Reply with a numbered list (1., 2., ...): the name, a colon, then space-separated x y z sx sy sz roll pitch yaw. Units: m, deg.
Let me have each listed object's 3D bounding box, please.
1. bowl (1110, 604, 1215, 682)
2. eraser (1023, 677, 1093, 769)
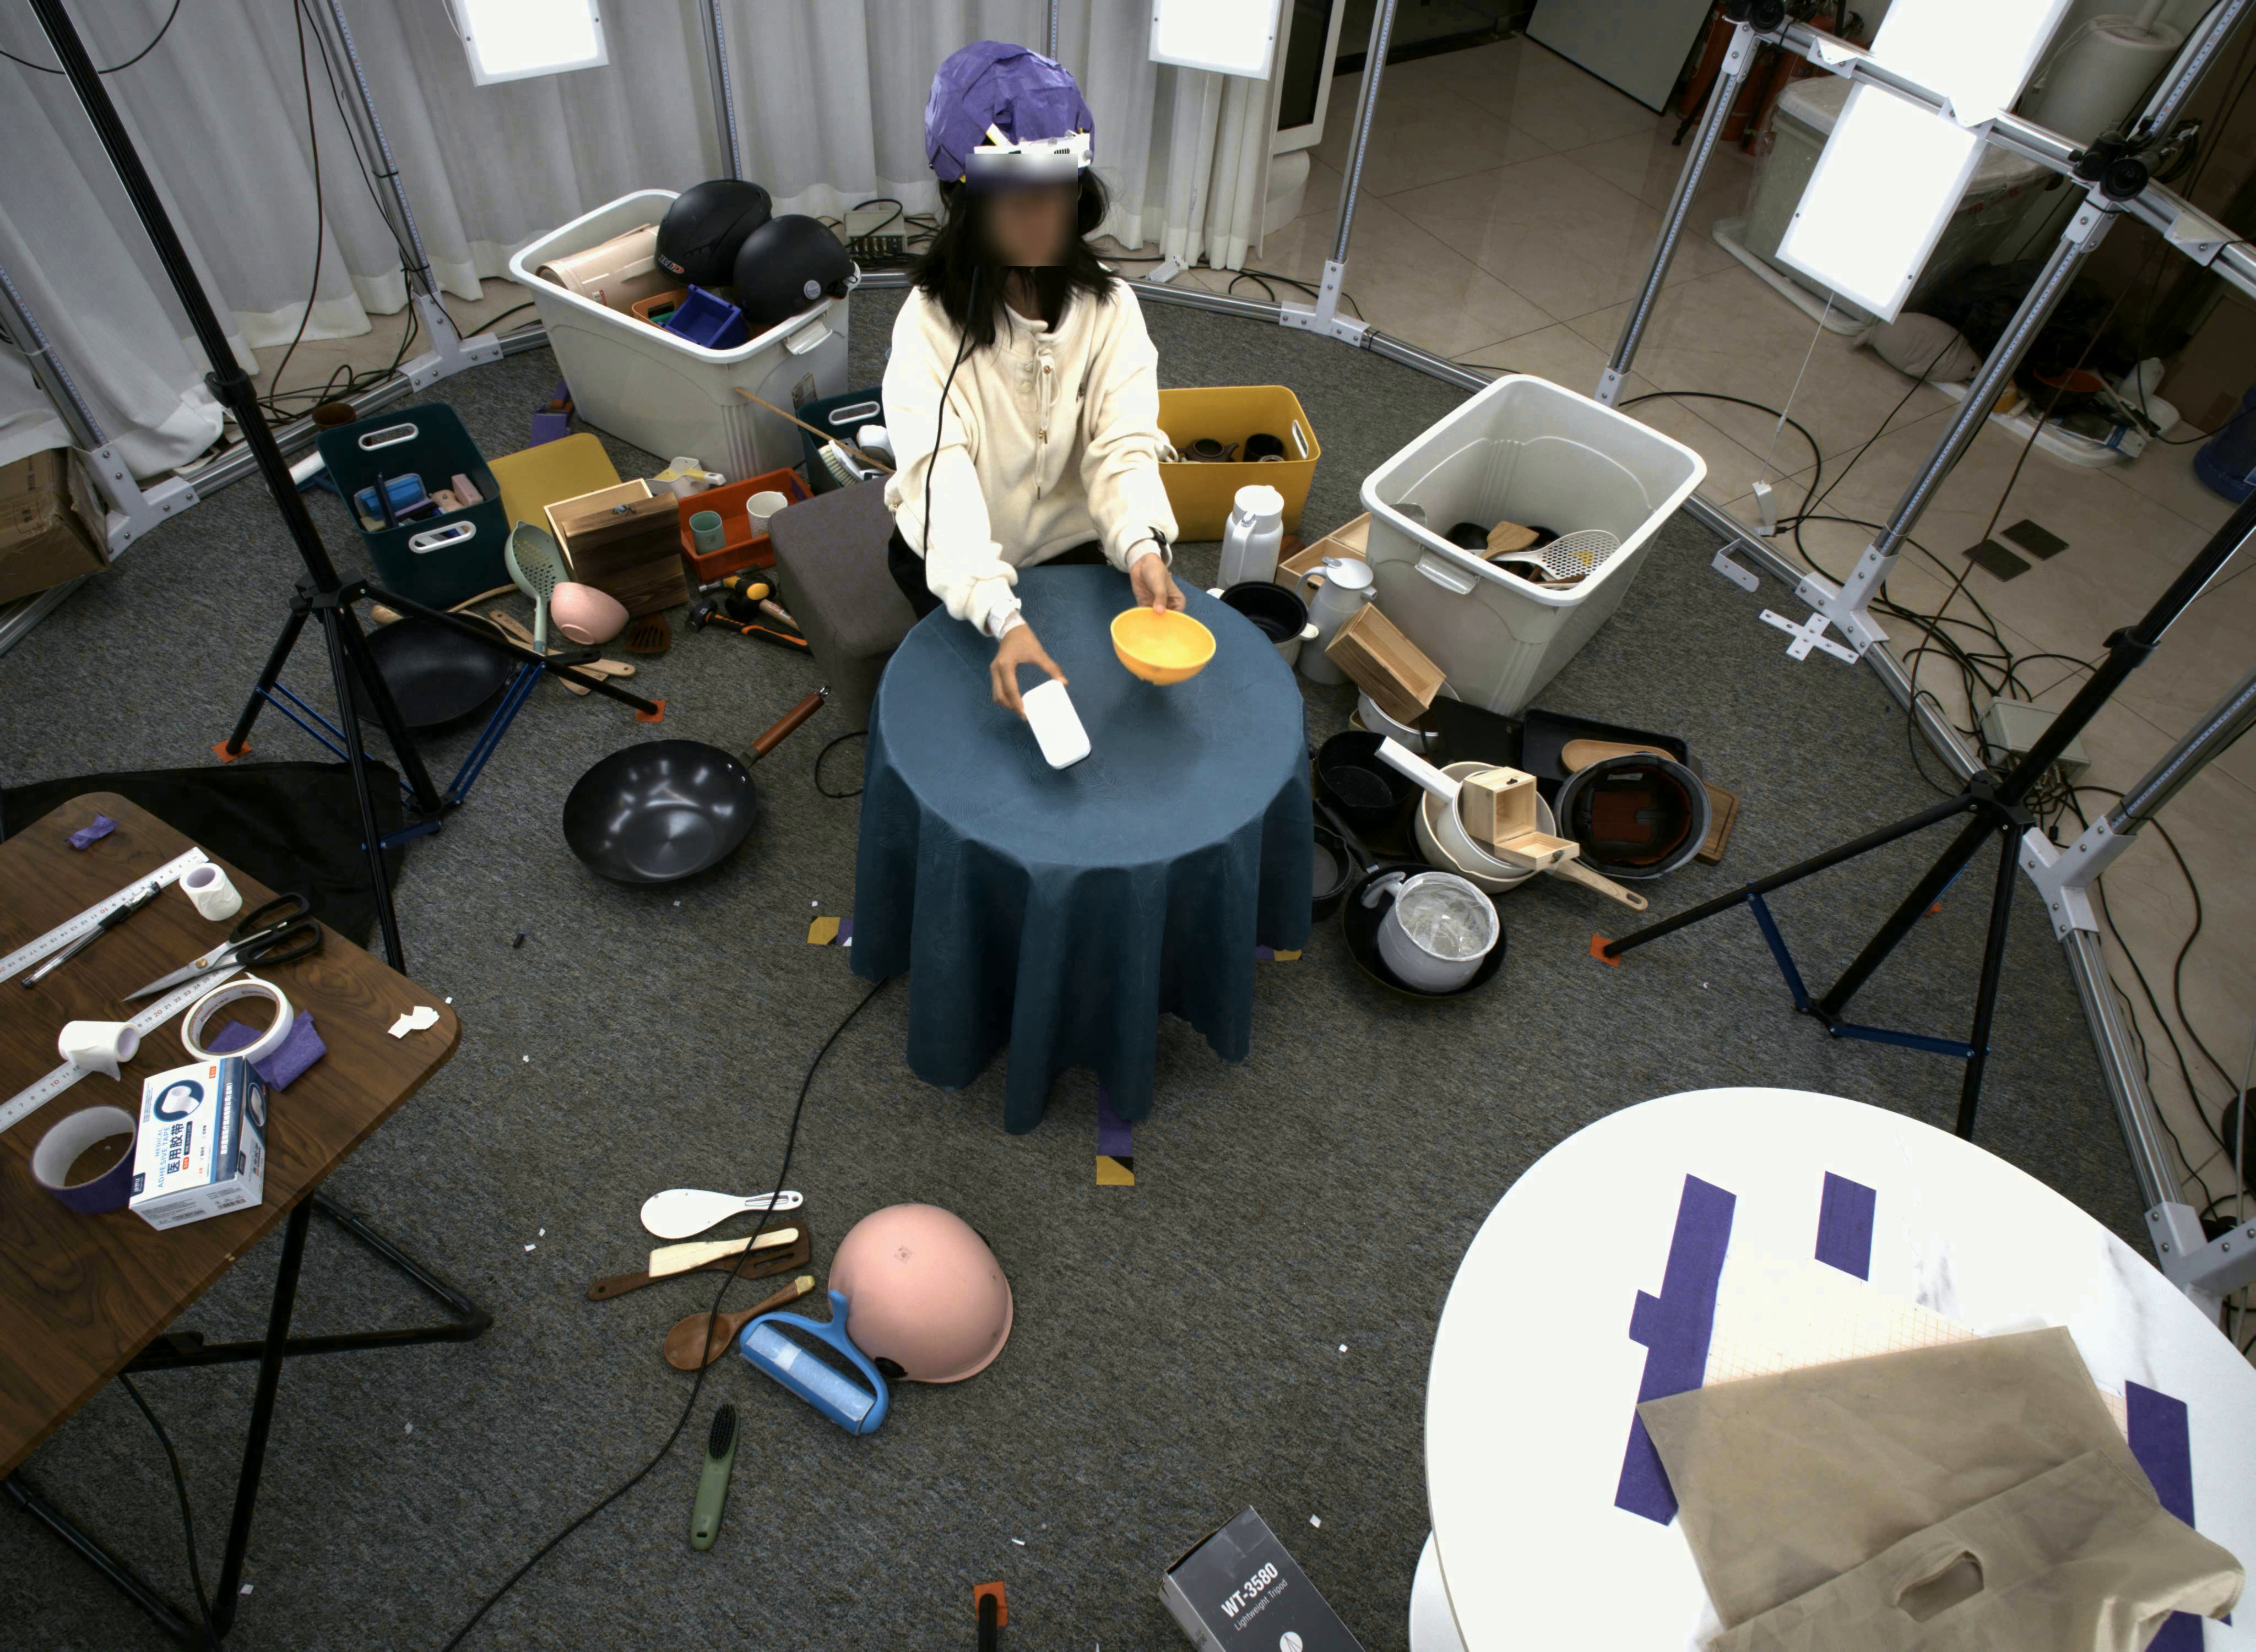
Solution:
1. bowl: 0.043 -0.241 1.760 0.145 0.059 0.149 7 40 -6
2. eraser: -0.092 -0.139 1.706 0.063 0.034 0.134 -28 58 5
